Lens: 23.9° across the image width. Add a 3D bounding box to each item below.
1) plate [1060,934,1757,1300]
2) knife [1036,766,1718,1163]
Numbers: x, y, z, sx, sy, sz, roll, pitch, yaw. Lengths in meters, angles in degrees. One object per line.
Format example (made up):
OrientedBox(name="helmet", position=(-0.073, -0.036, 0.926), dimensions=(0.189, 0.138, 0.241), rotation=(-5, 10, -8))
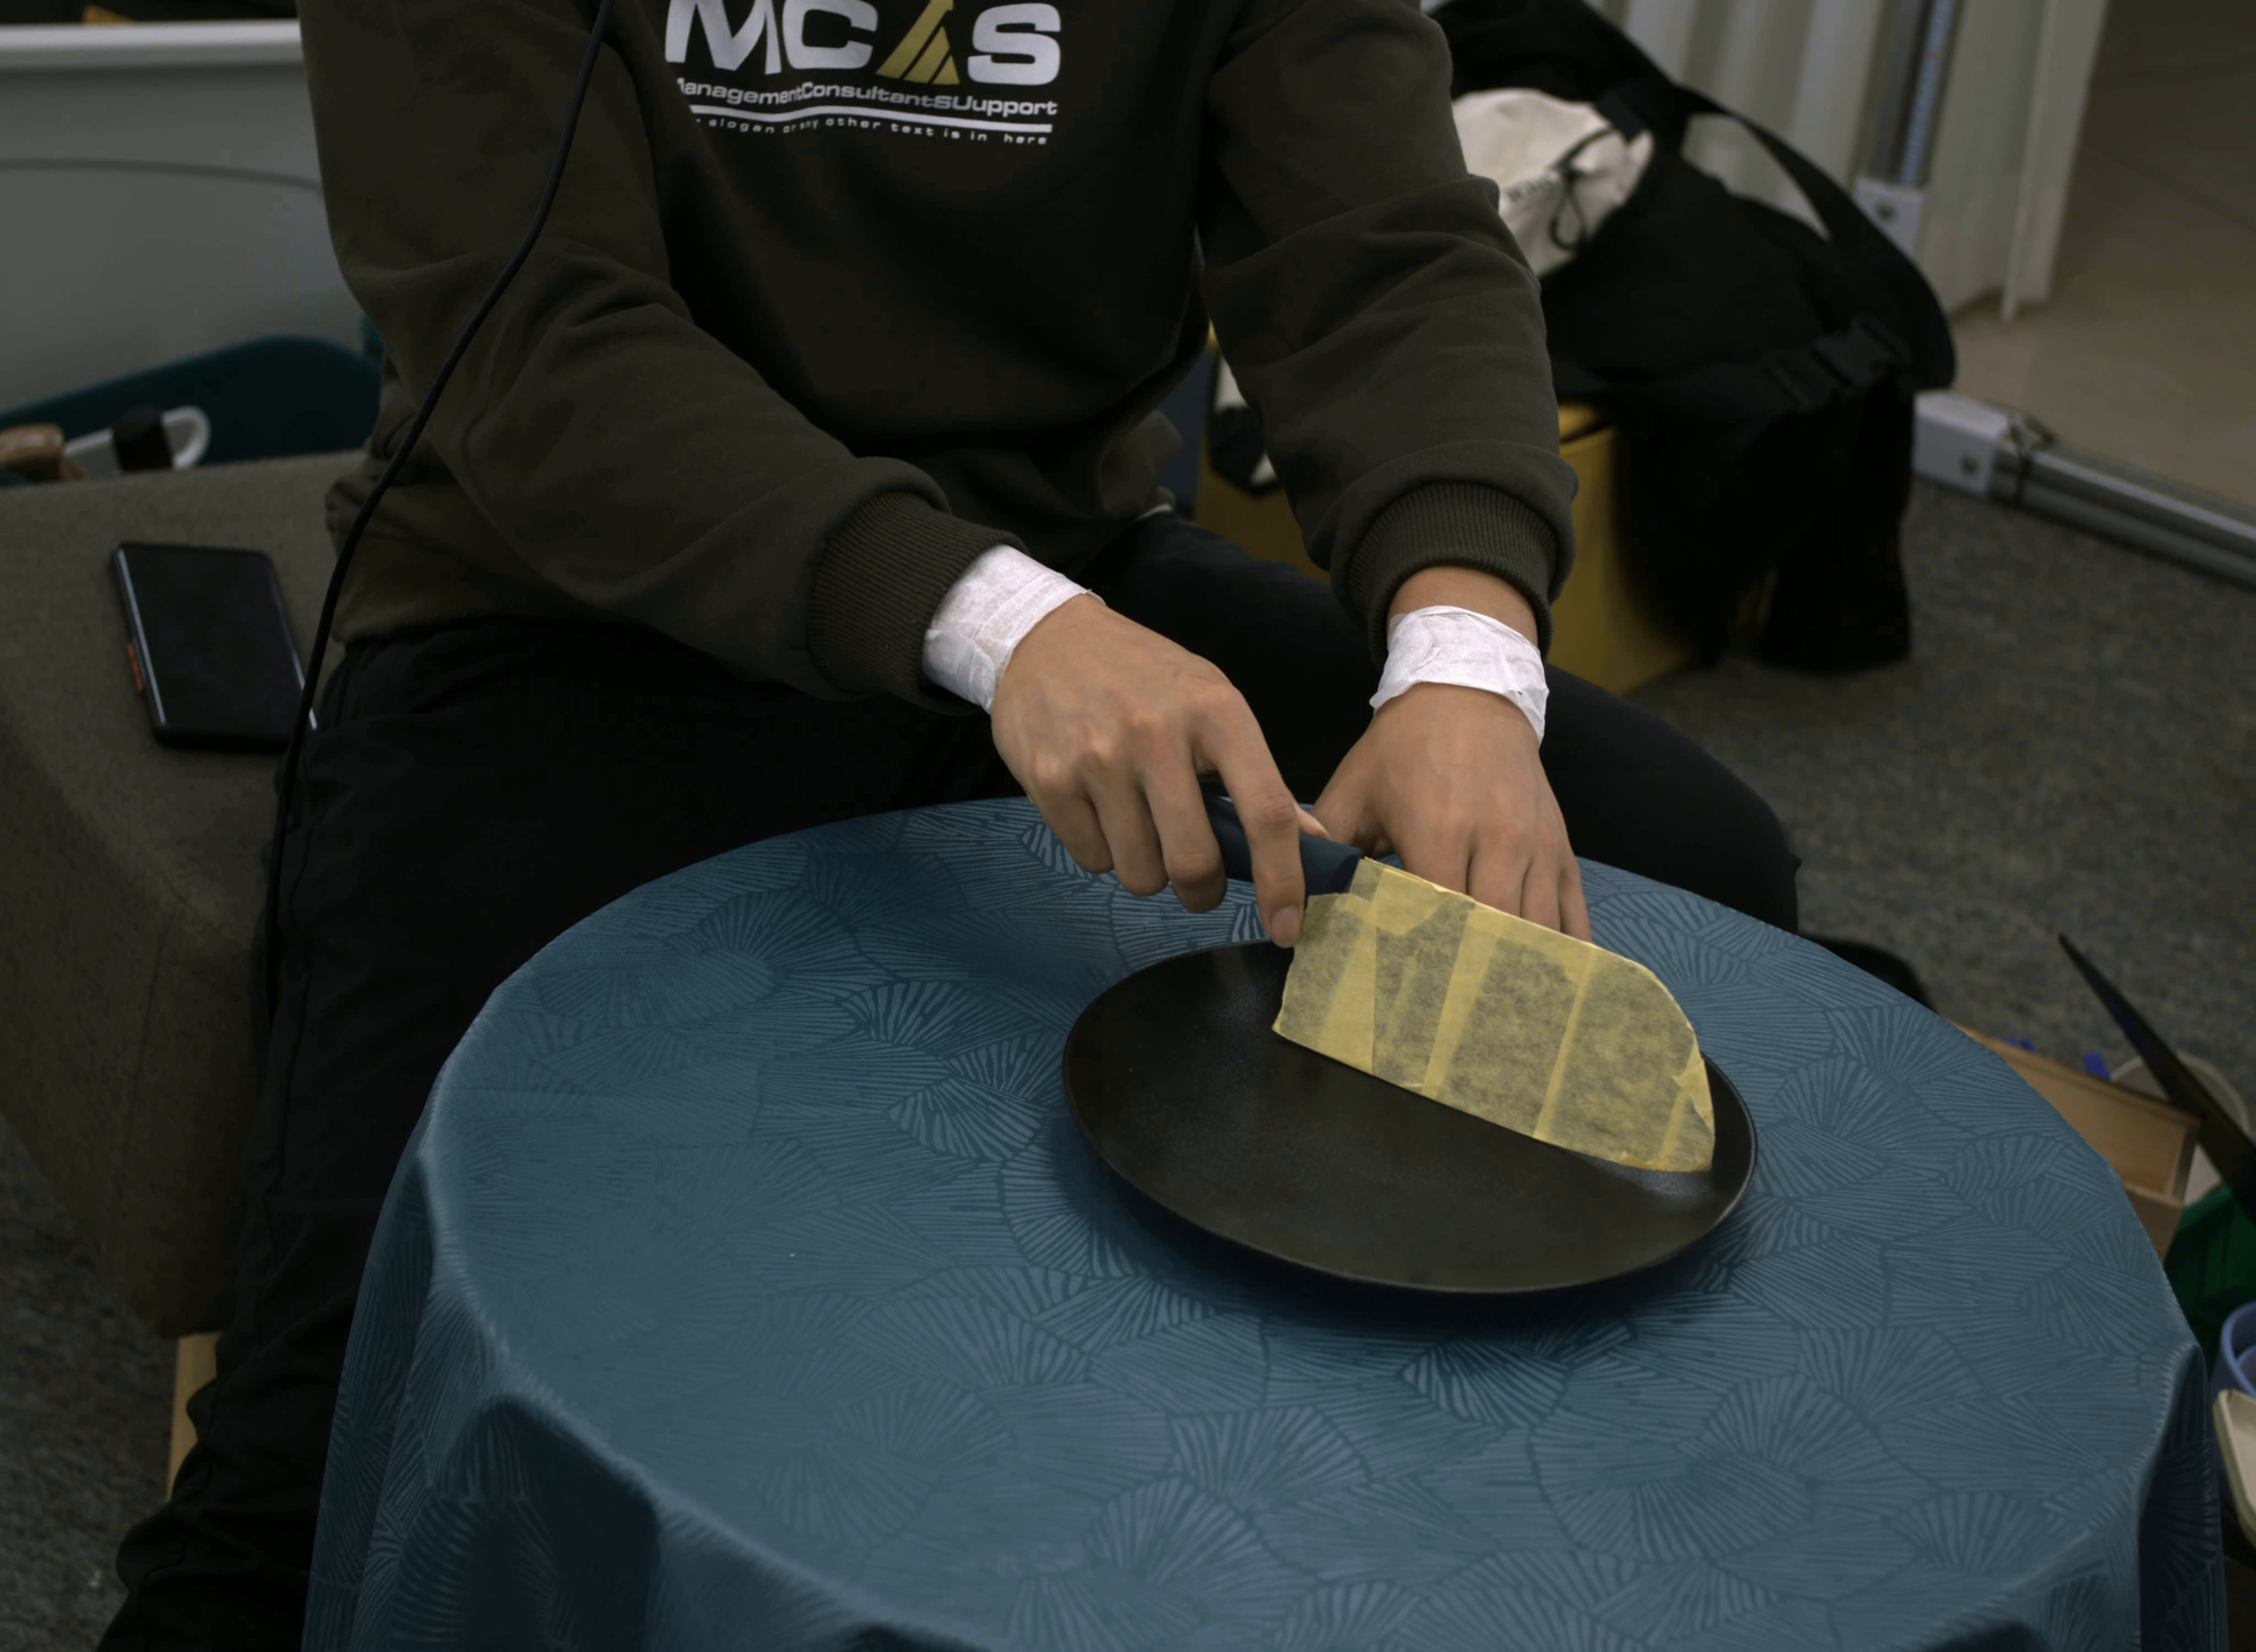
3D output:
OrientedBox(name="plate", position=(0.096, 0.104, 1.840), dimensions=(0.243, 0.023, 0.246), rotation=(5, 27, -3))
OrientedBox(name="knife", position=(0.083, 0.046, 1.877), dimensions=(0.291, 0.081, 0.027), rotation=(25, 11, 27))
